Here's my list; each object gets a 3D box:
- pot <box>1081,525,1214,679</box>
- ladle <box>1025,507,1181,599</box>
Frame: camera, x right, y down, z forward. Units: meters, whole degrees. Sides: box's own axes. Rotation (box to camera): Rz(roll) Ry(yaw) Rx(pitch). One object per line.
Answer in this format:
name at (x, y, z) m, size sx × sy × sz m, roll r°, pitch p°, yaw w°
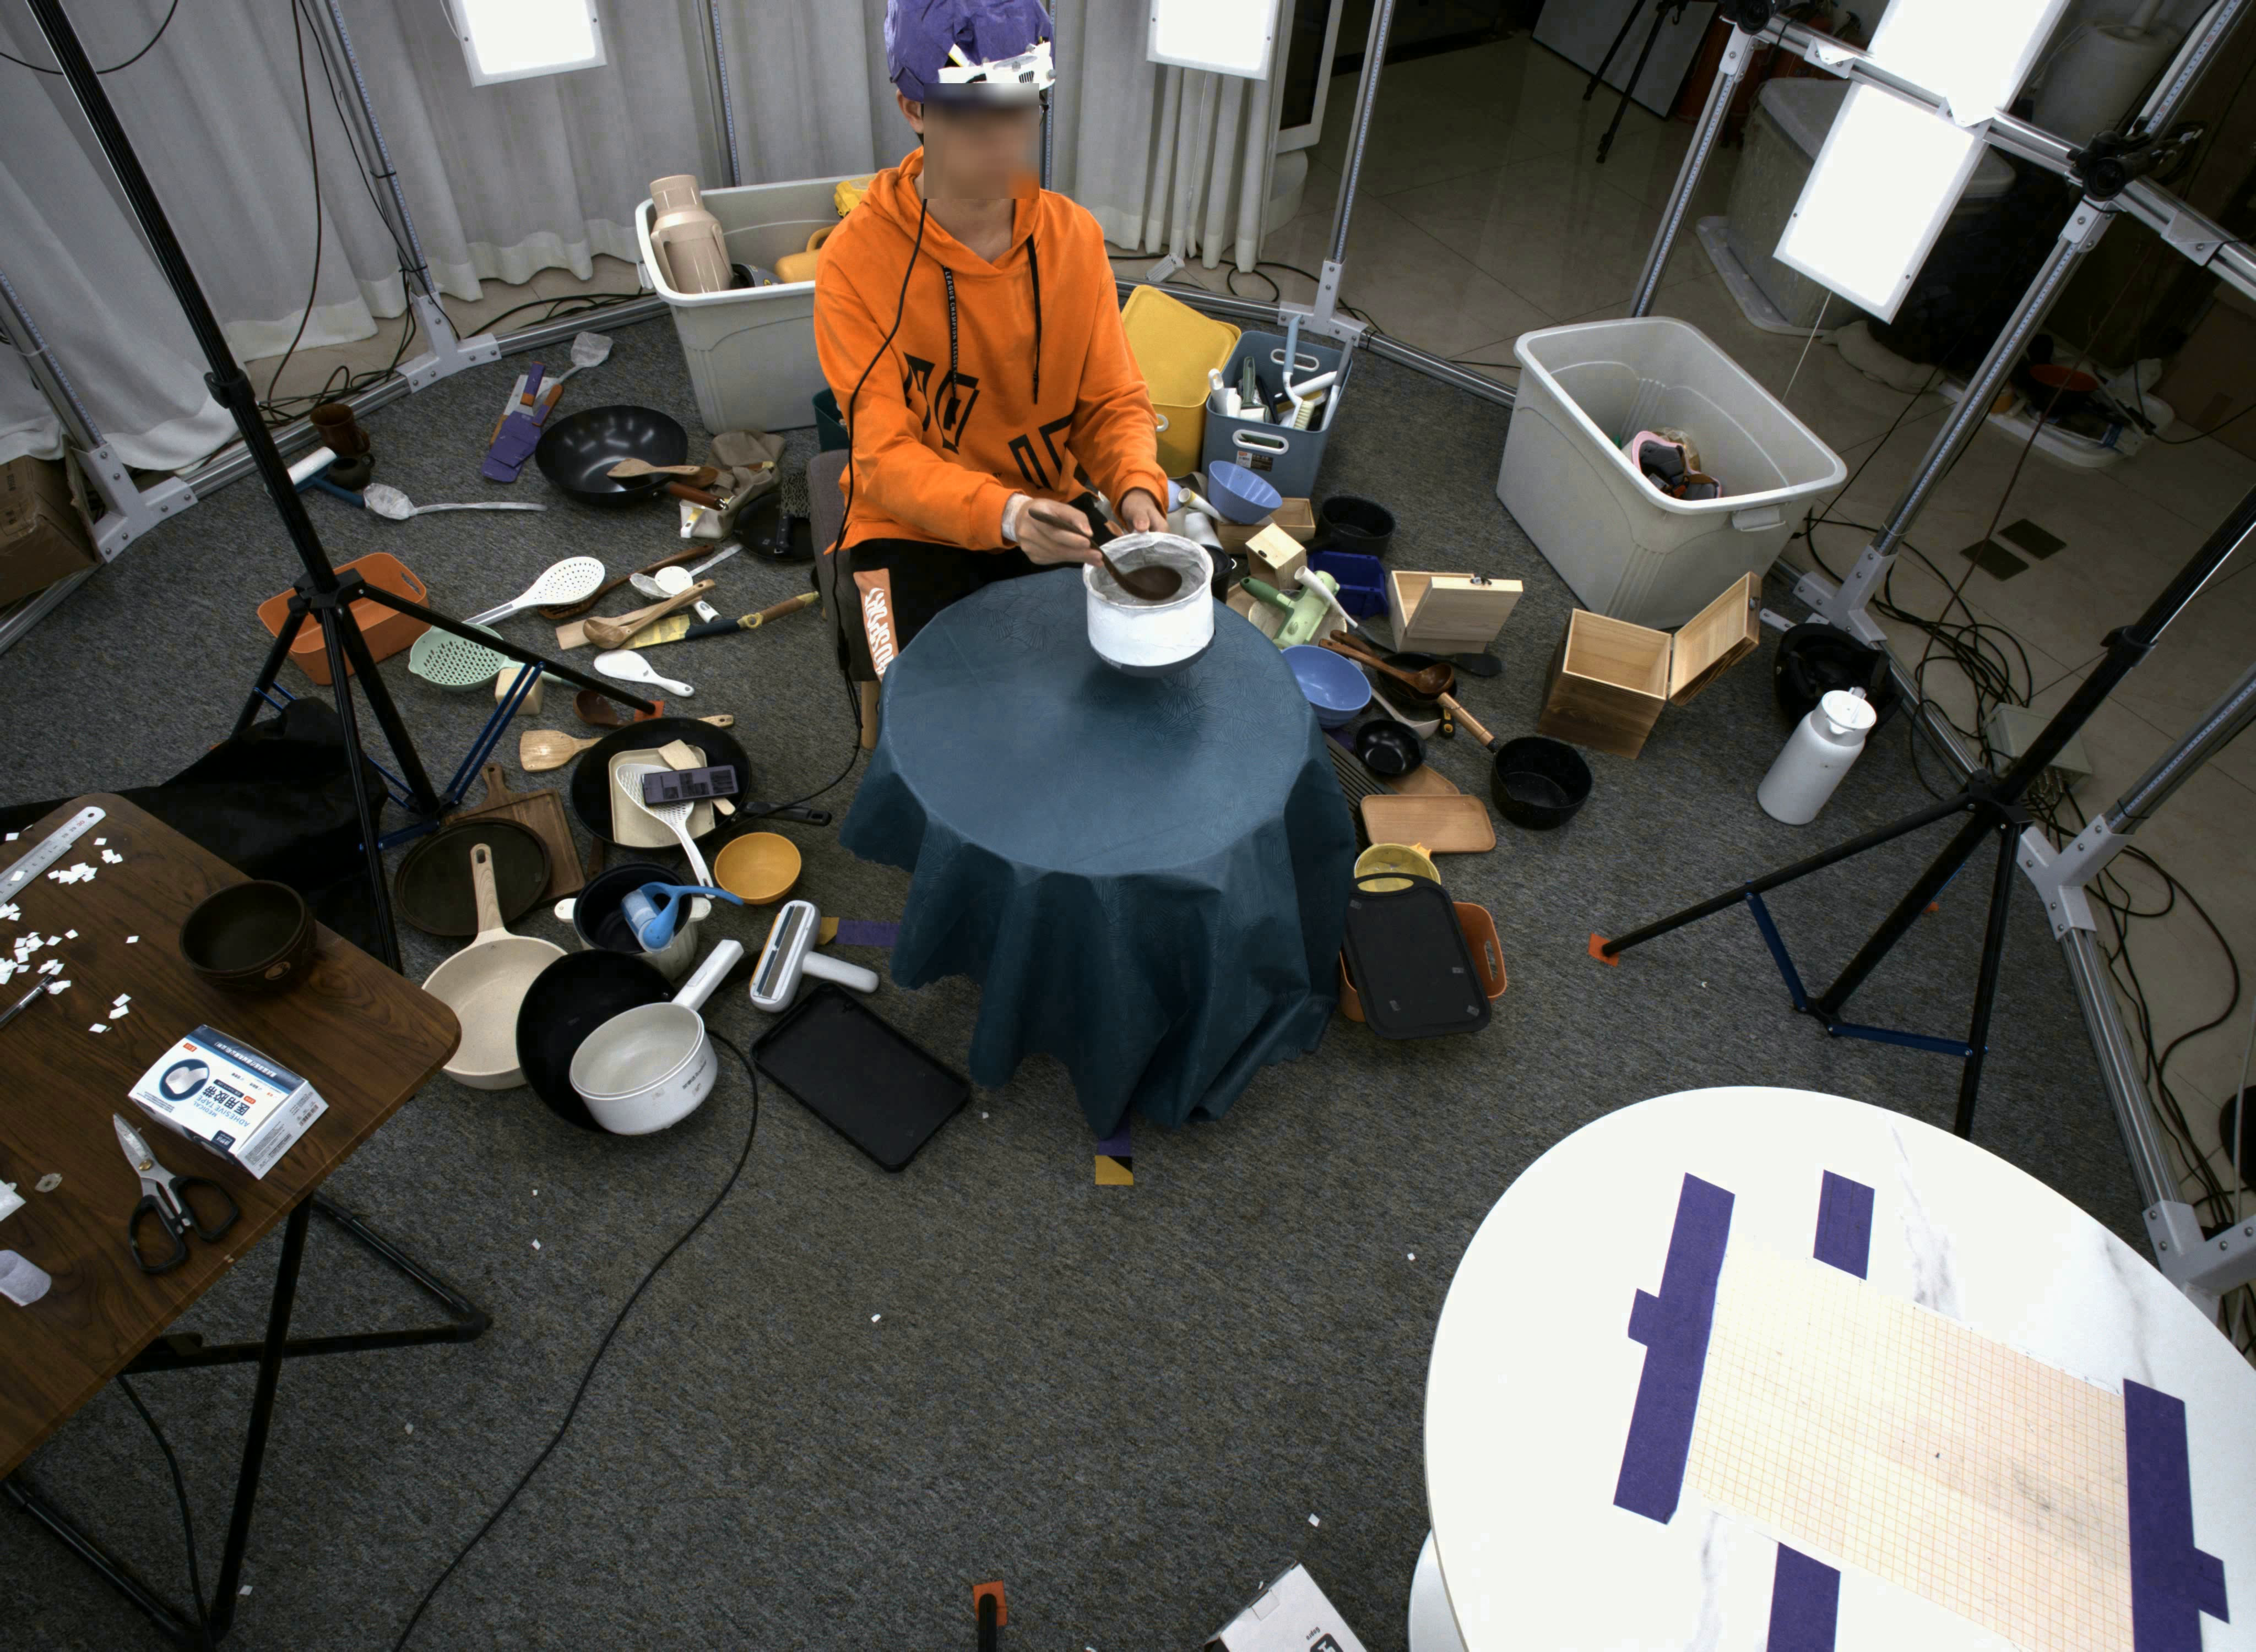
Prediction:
pot at (0.027, -0.320, 1.786) m, size 0.178 × 0.133 × 0.240 m, roll -7°, pitch 45°, yaw -2°
ladle at (-0.026, -0.369, 1.673) m, size 0.077 × 0.269 × 0.071 m, roll 33°, pitch 92°, yaw 41°
